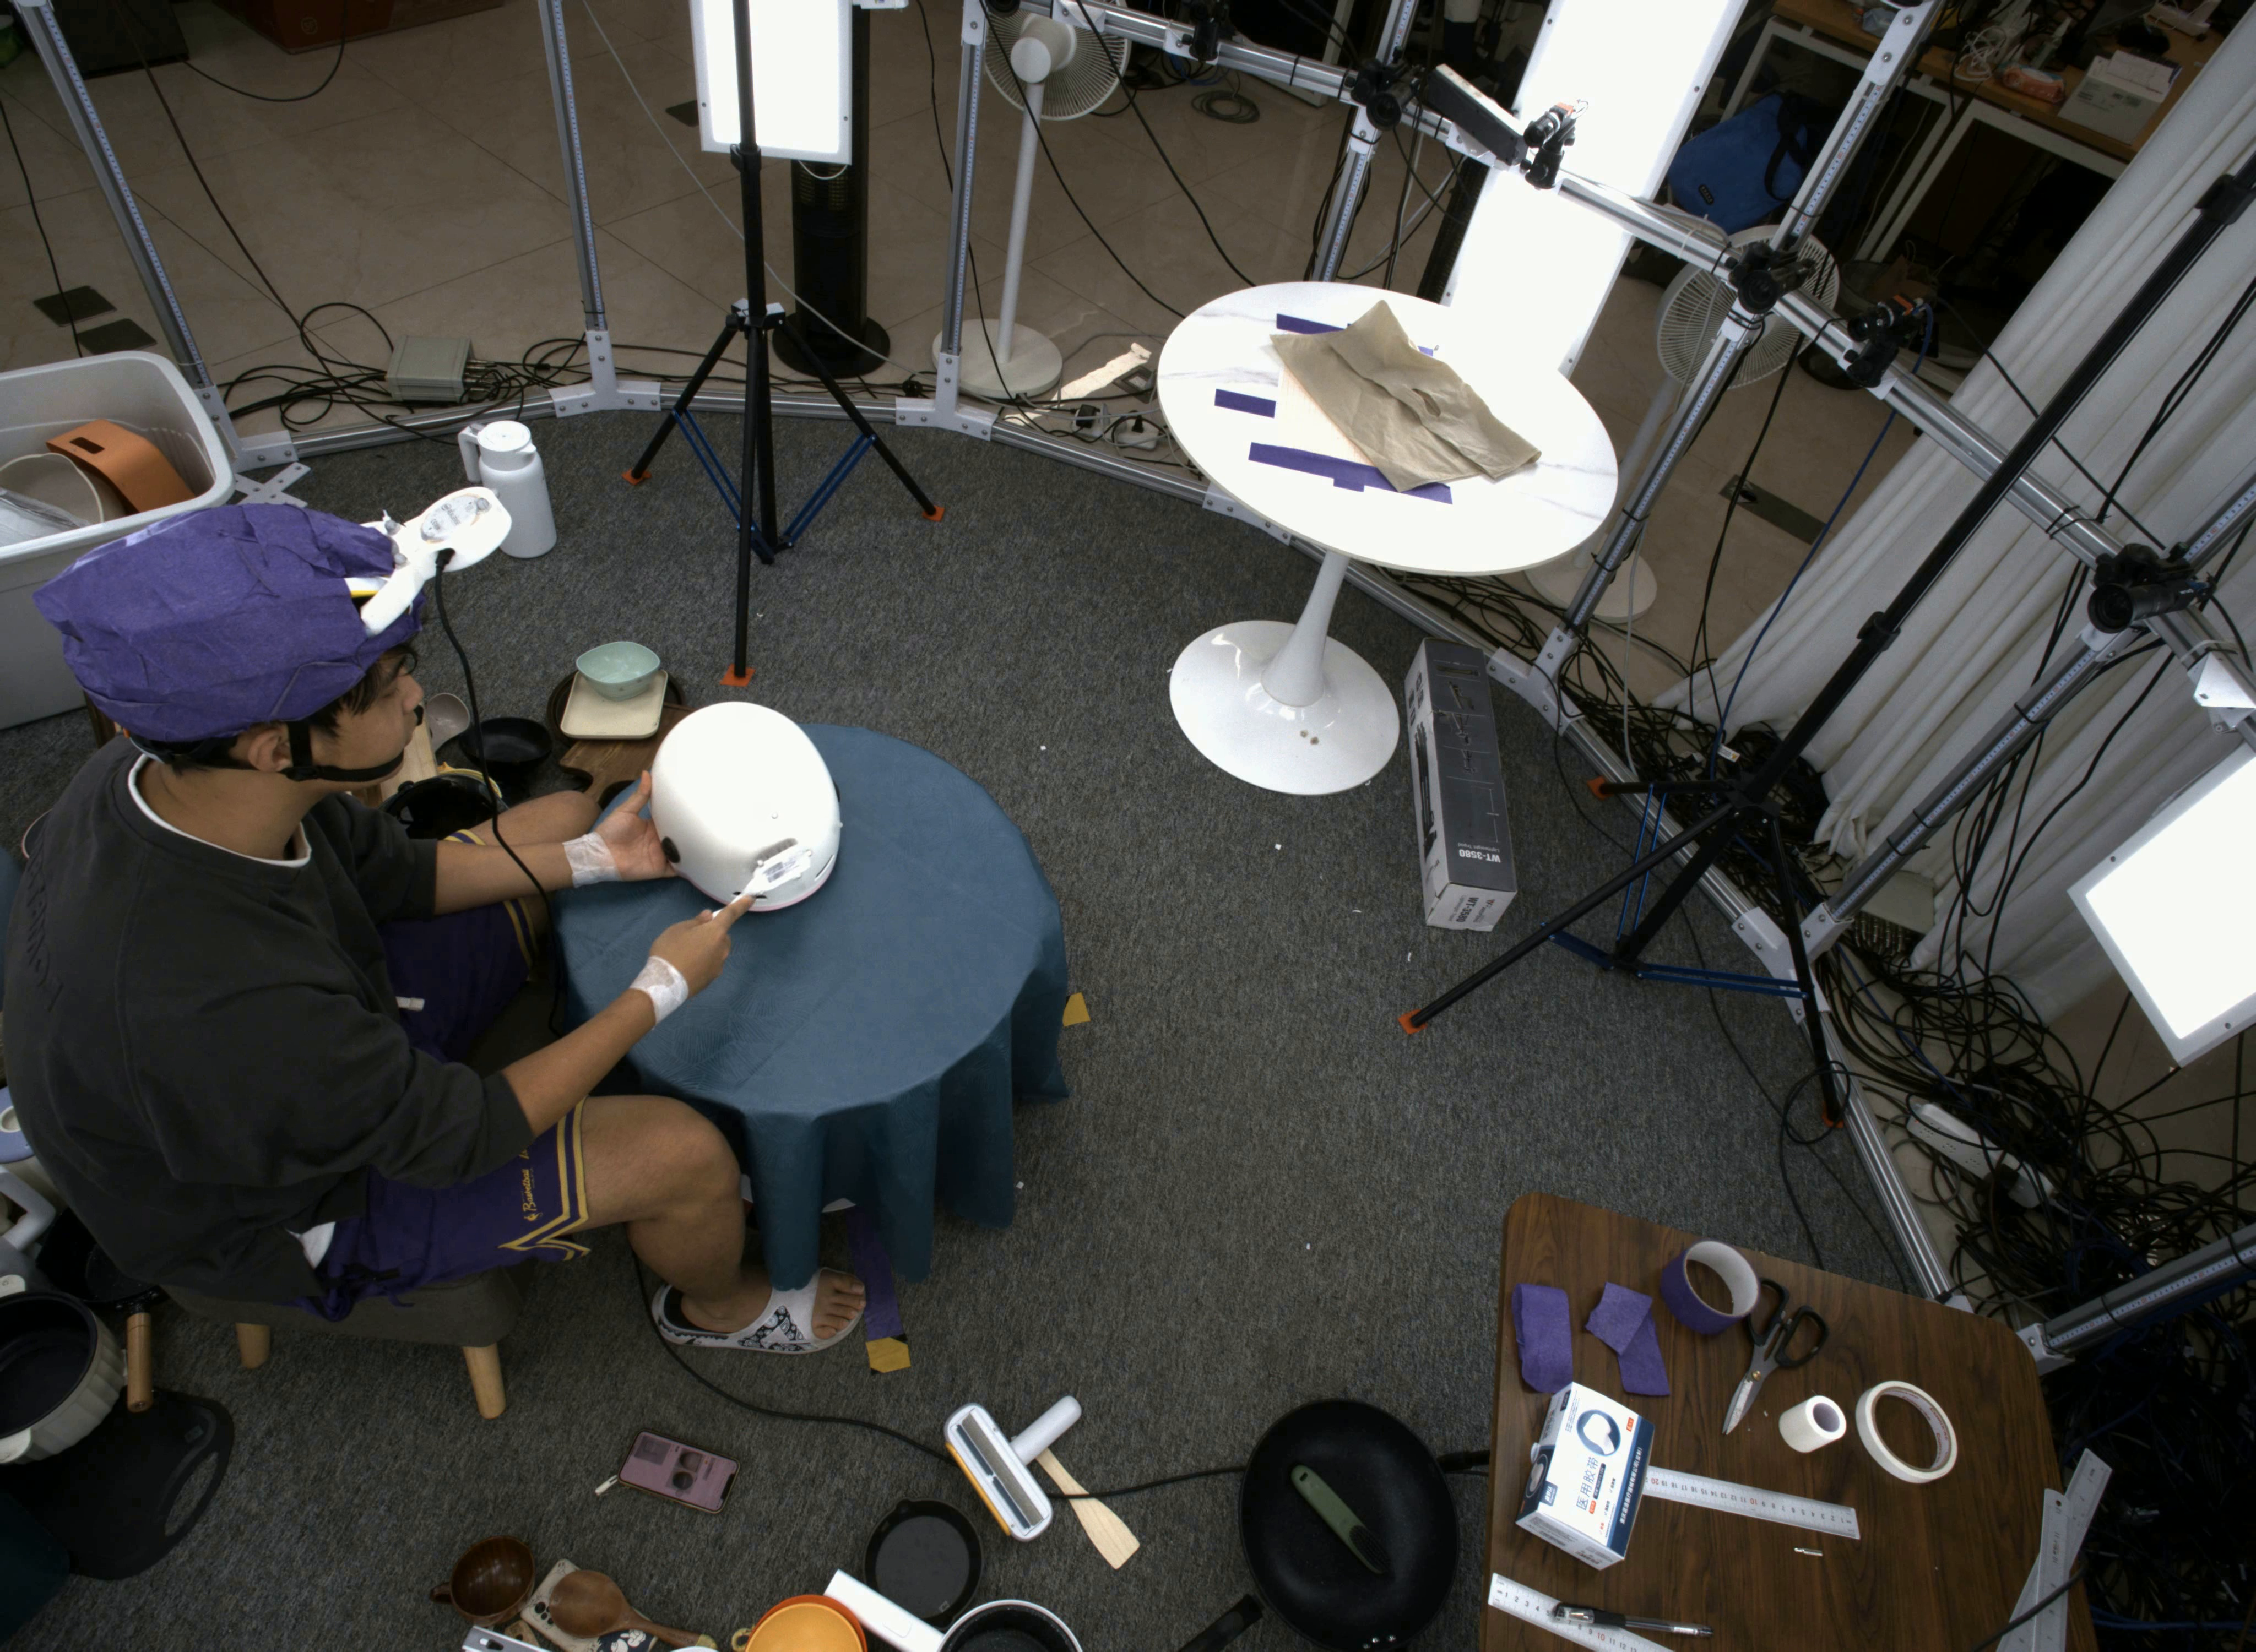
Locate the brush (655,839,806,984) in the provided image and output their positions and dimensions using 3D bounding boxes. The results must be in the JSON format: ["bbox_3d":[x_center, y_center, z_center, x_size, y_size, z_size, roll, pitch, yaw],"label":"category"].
[{"bbox_3d":[-0.468,0.094,1.503,0.048,0.036,0.243,12,43,34],"label":"brush"}]

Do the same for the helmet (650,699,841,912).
[{"bbox_3d":[-0.483,-0.047,1.637,0.238,0.170,0.262,-22,61,-31],"label":"helmet"}]
